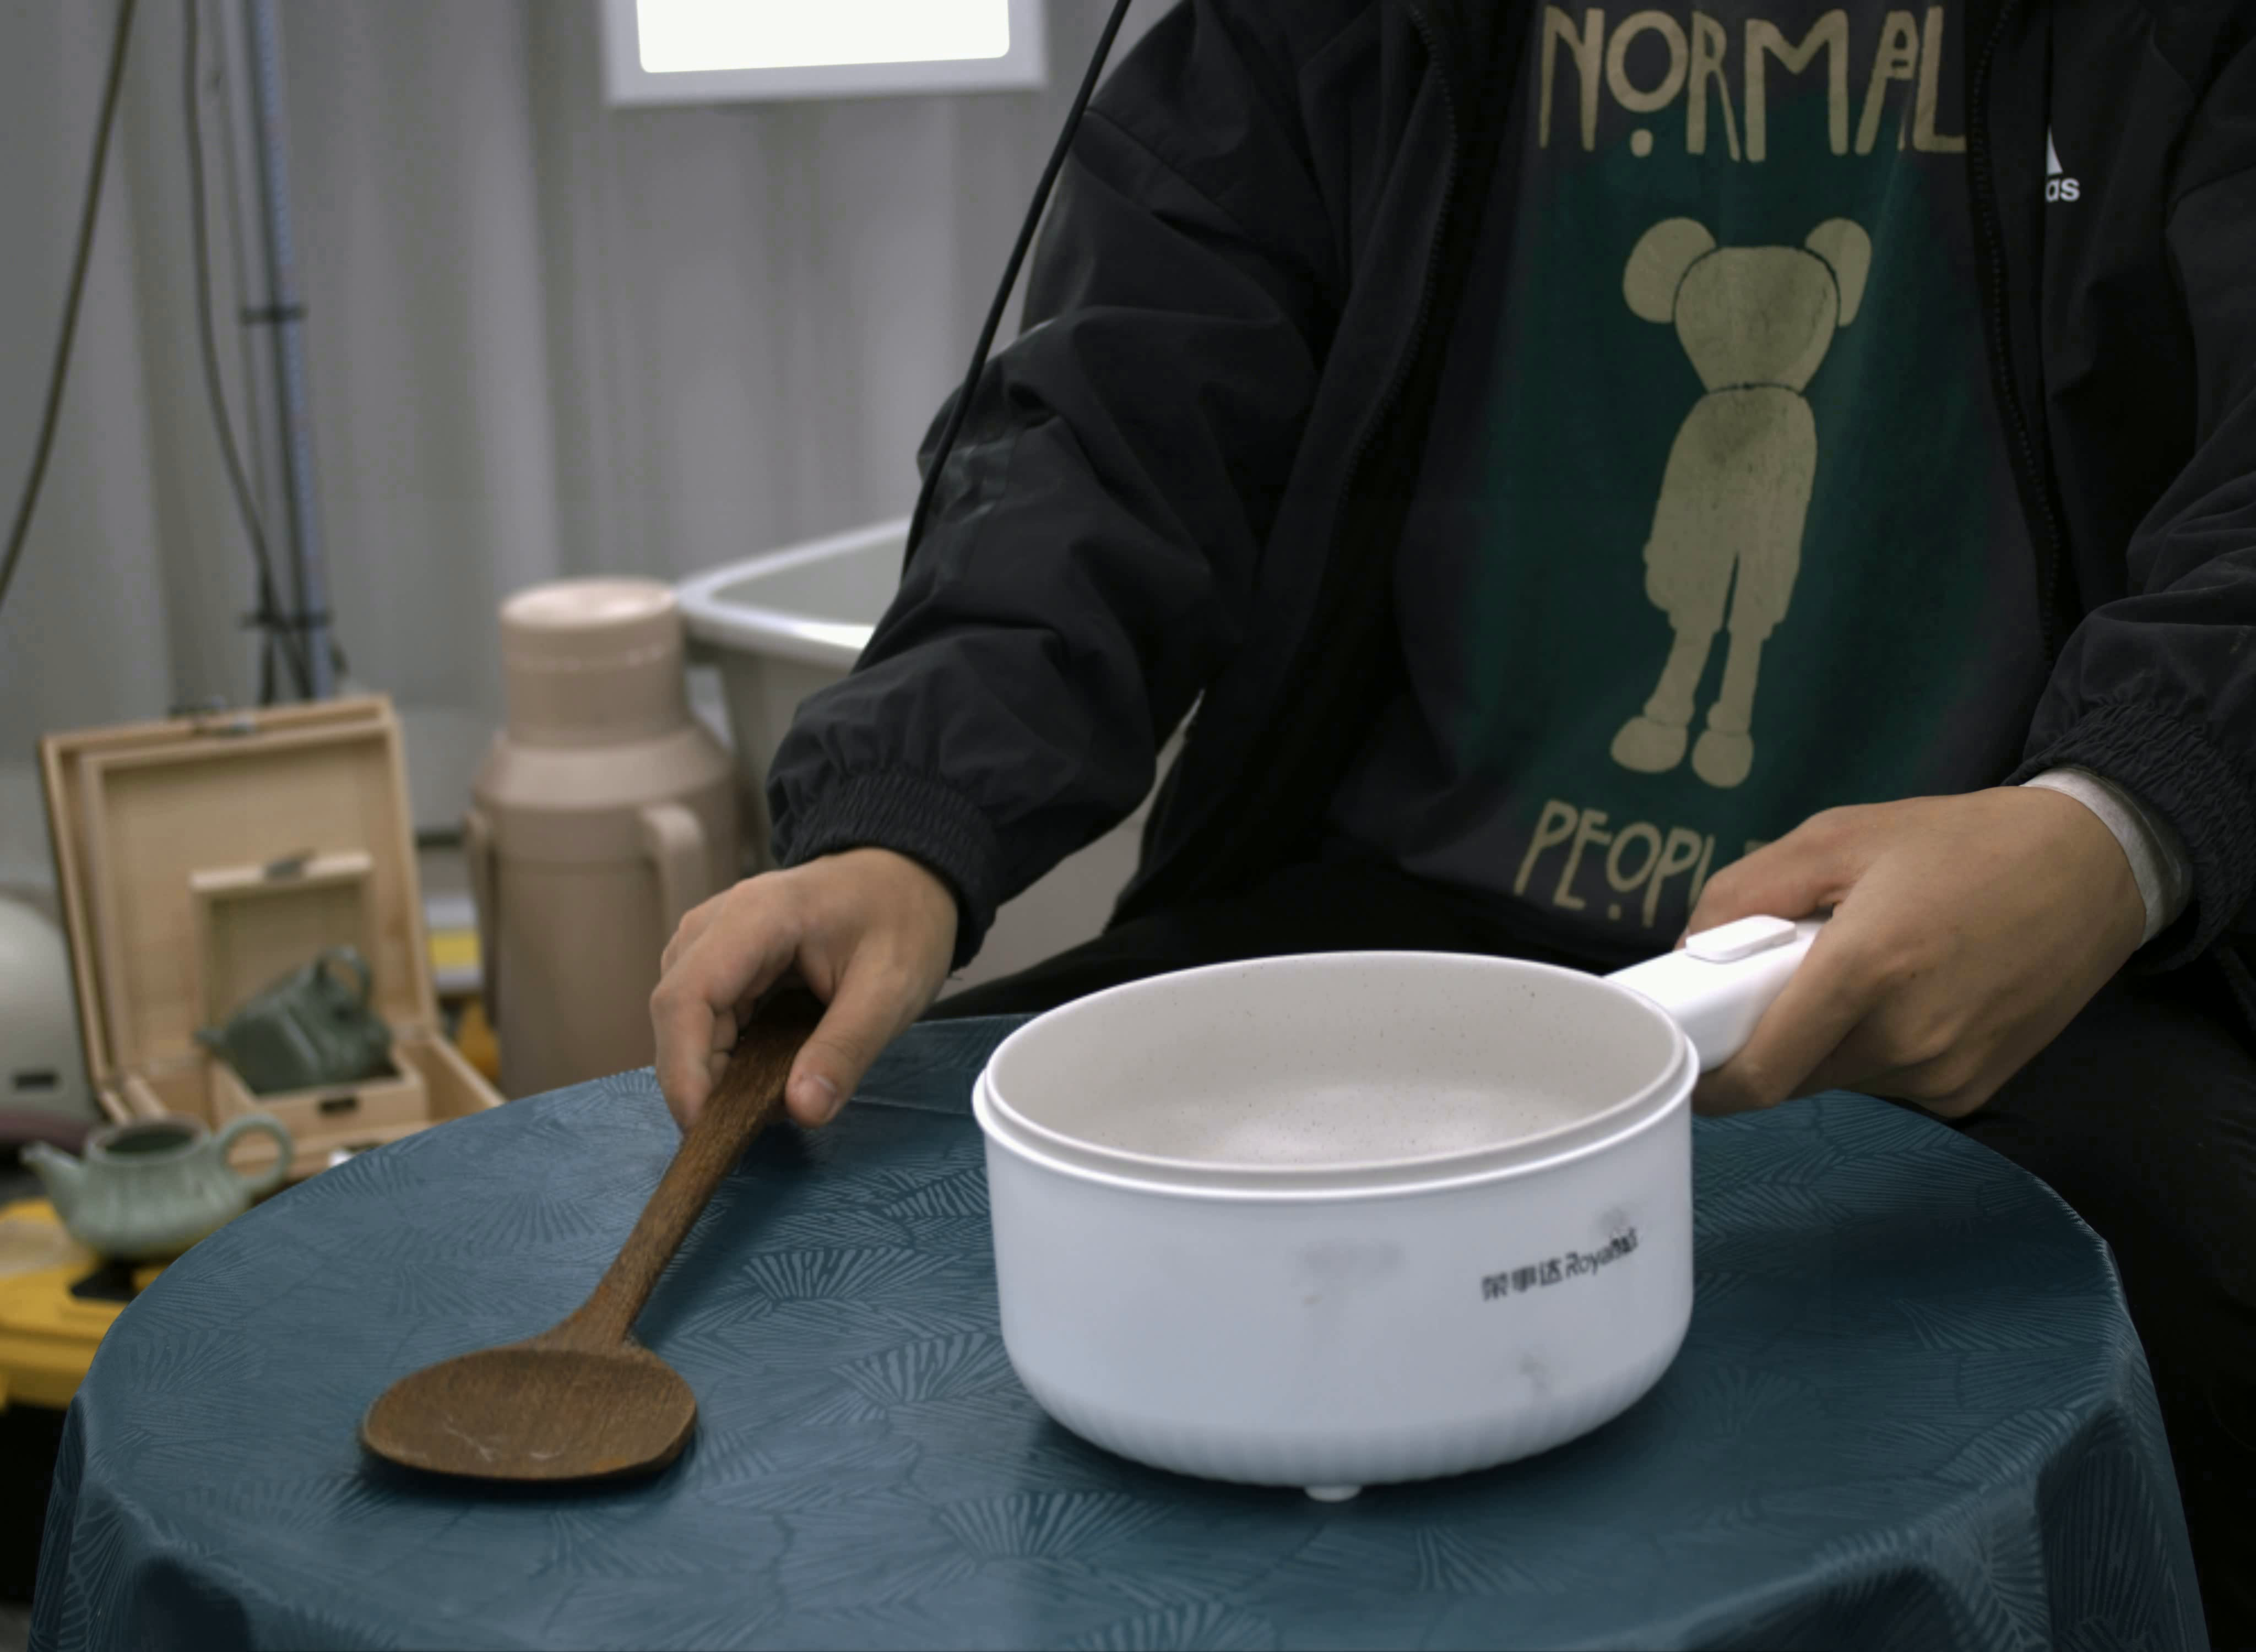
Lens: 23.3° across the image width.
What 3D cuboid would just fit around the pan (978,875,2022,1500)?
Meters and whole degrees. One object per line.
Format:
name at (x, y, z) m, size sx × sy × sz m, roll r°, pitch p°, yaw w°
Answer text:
pan at (0.120, 0.096, 1.565) m, size 0.354 × 0.102 × 0.202 m, roll -14°, pitch 17°, yaw -37°

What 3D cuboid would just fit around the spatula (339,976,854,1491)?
spatula at (-0.139, 0.115, 1.663) m, size 0.096 × 0.015 × 0.388 m, roll 5°, pitch 20°, yaw 10°
